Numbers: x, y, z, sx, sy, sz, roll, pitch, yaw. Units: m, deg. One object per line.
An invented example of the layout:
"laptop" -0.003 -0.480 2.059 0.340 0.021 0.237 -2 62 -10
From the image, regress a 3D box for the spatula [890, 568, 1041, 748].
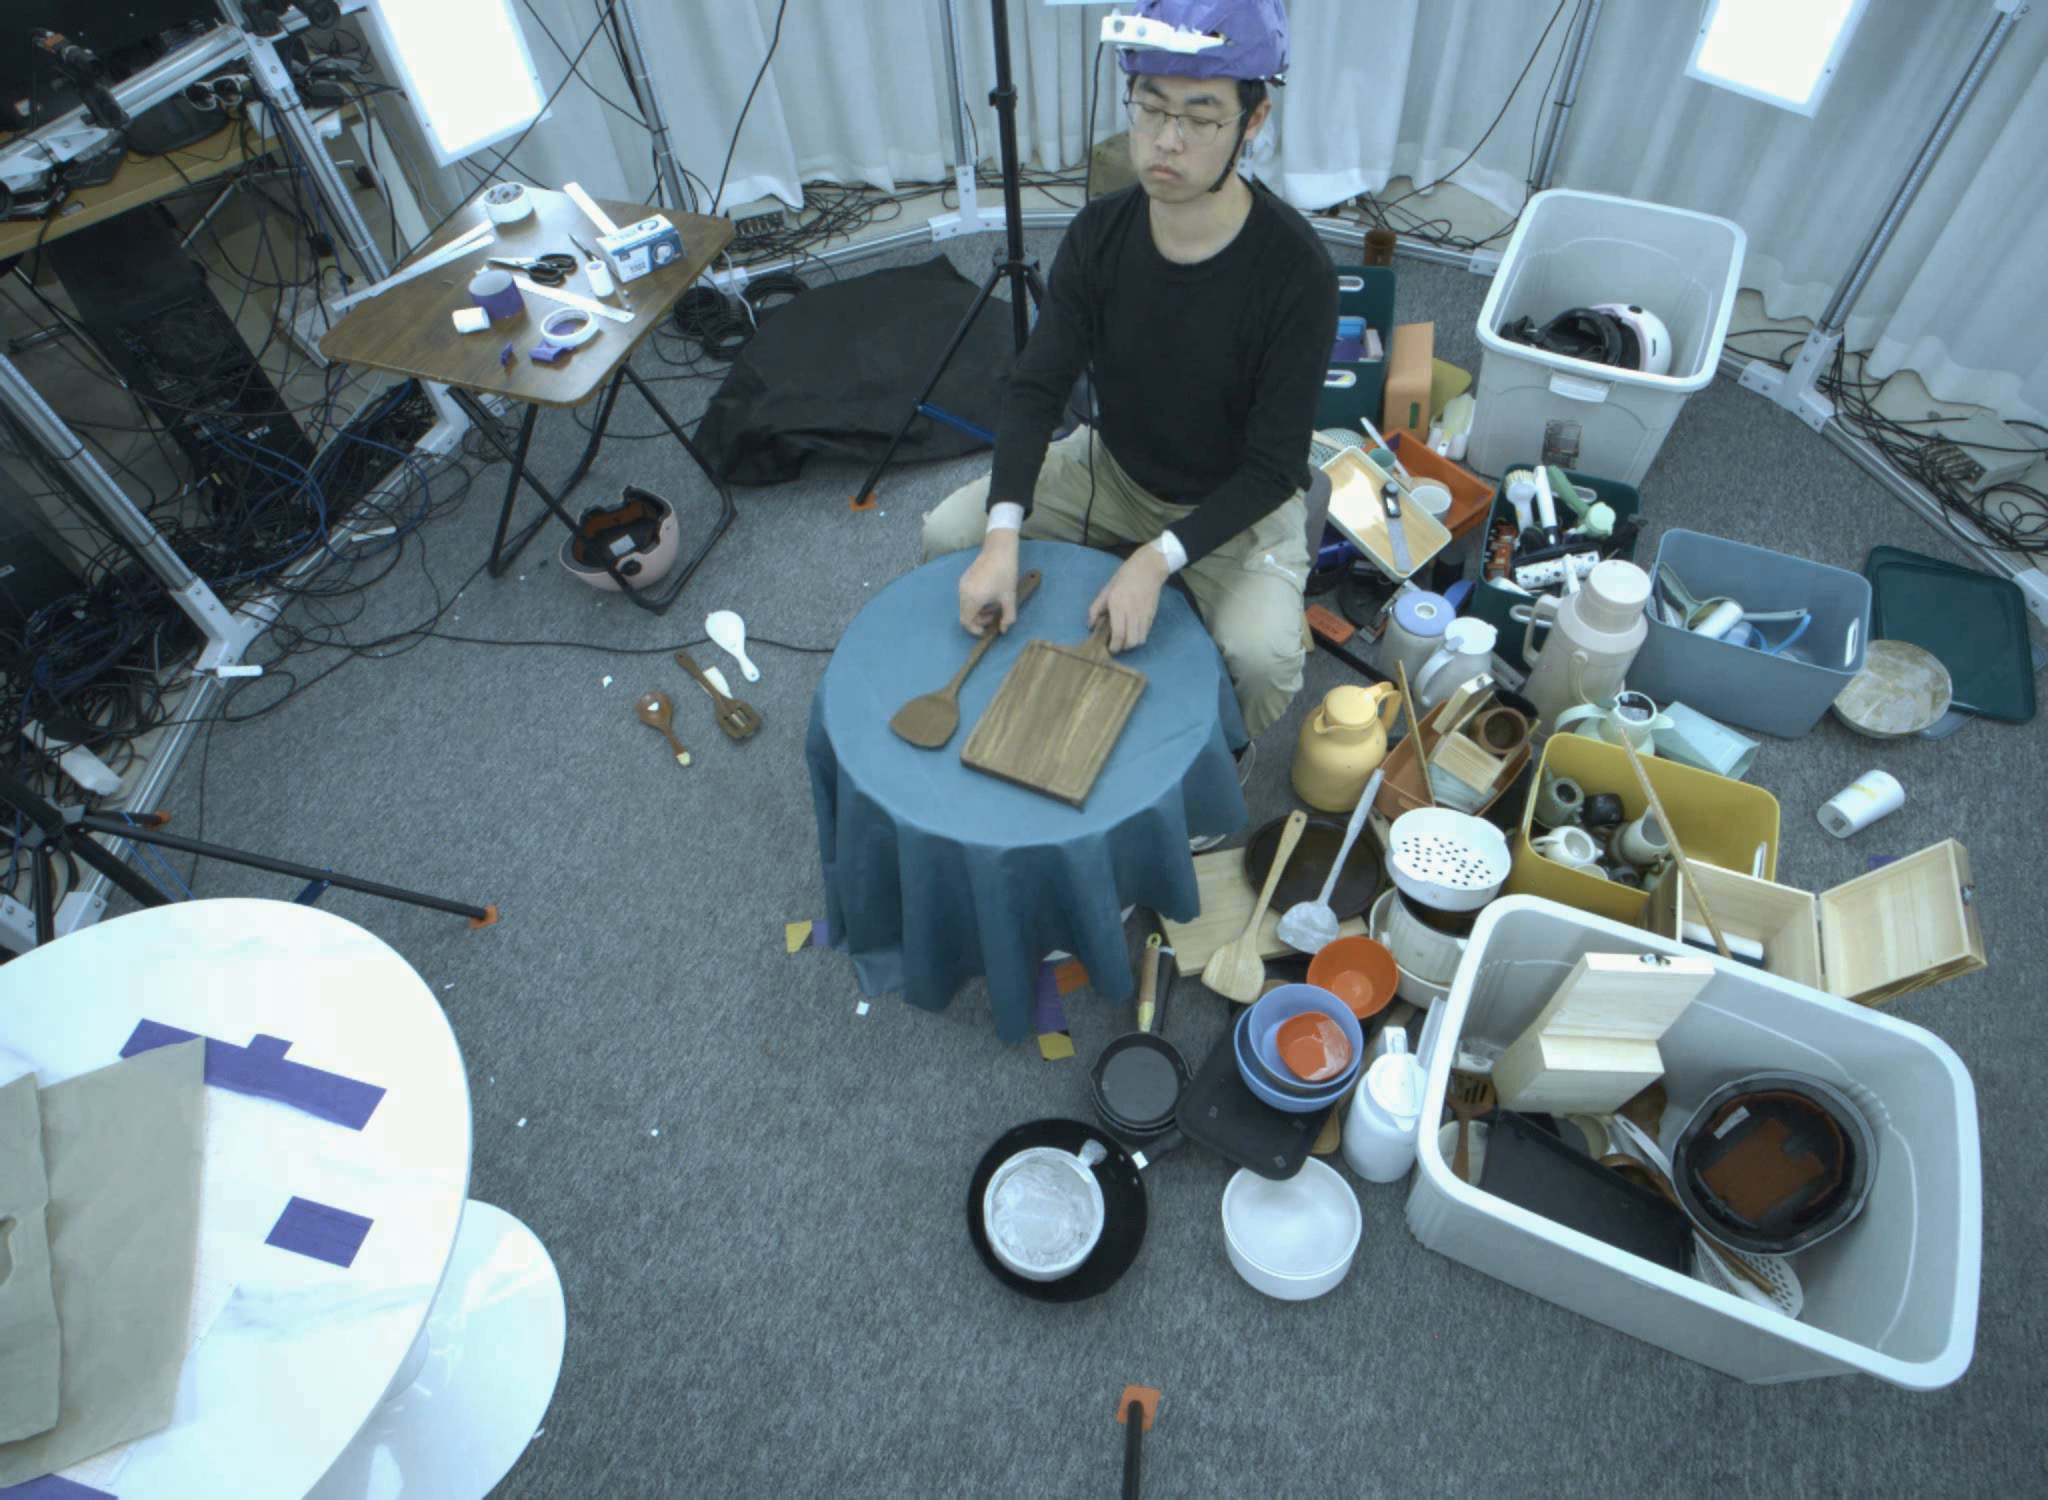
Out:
"spatula" -0.072 -0.152 1.885 0.095 0.016 0.387 24 60 17

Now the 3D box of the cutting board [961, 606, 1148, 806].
"cutting board" 0.068 -0.084 1.830 0.199 0.023 0.352 20 59 15
